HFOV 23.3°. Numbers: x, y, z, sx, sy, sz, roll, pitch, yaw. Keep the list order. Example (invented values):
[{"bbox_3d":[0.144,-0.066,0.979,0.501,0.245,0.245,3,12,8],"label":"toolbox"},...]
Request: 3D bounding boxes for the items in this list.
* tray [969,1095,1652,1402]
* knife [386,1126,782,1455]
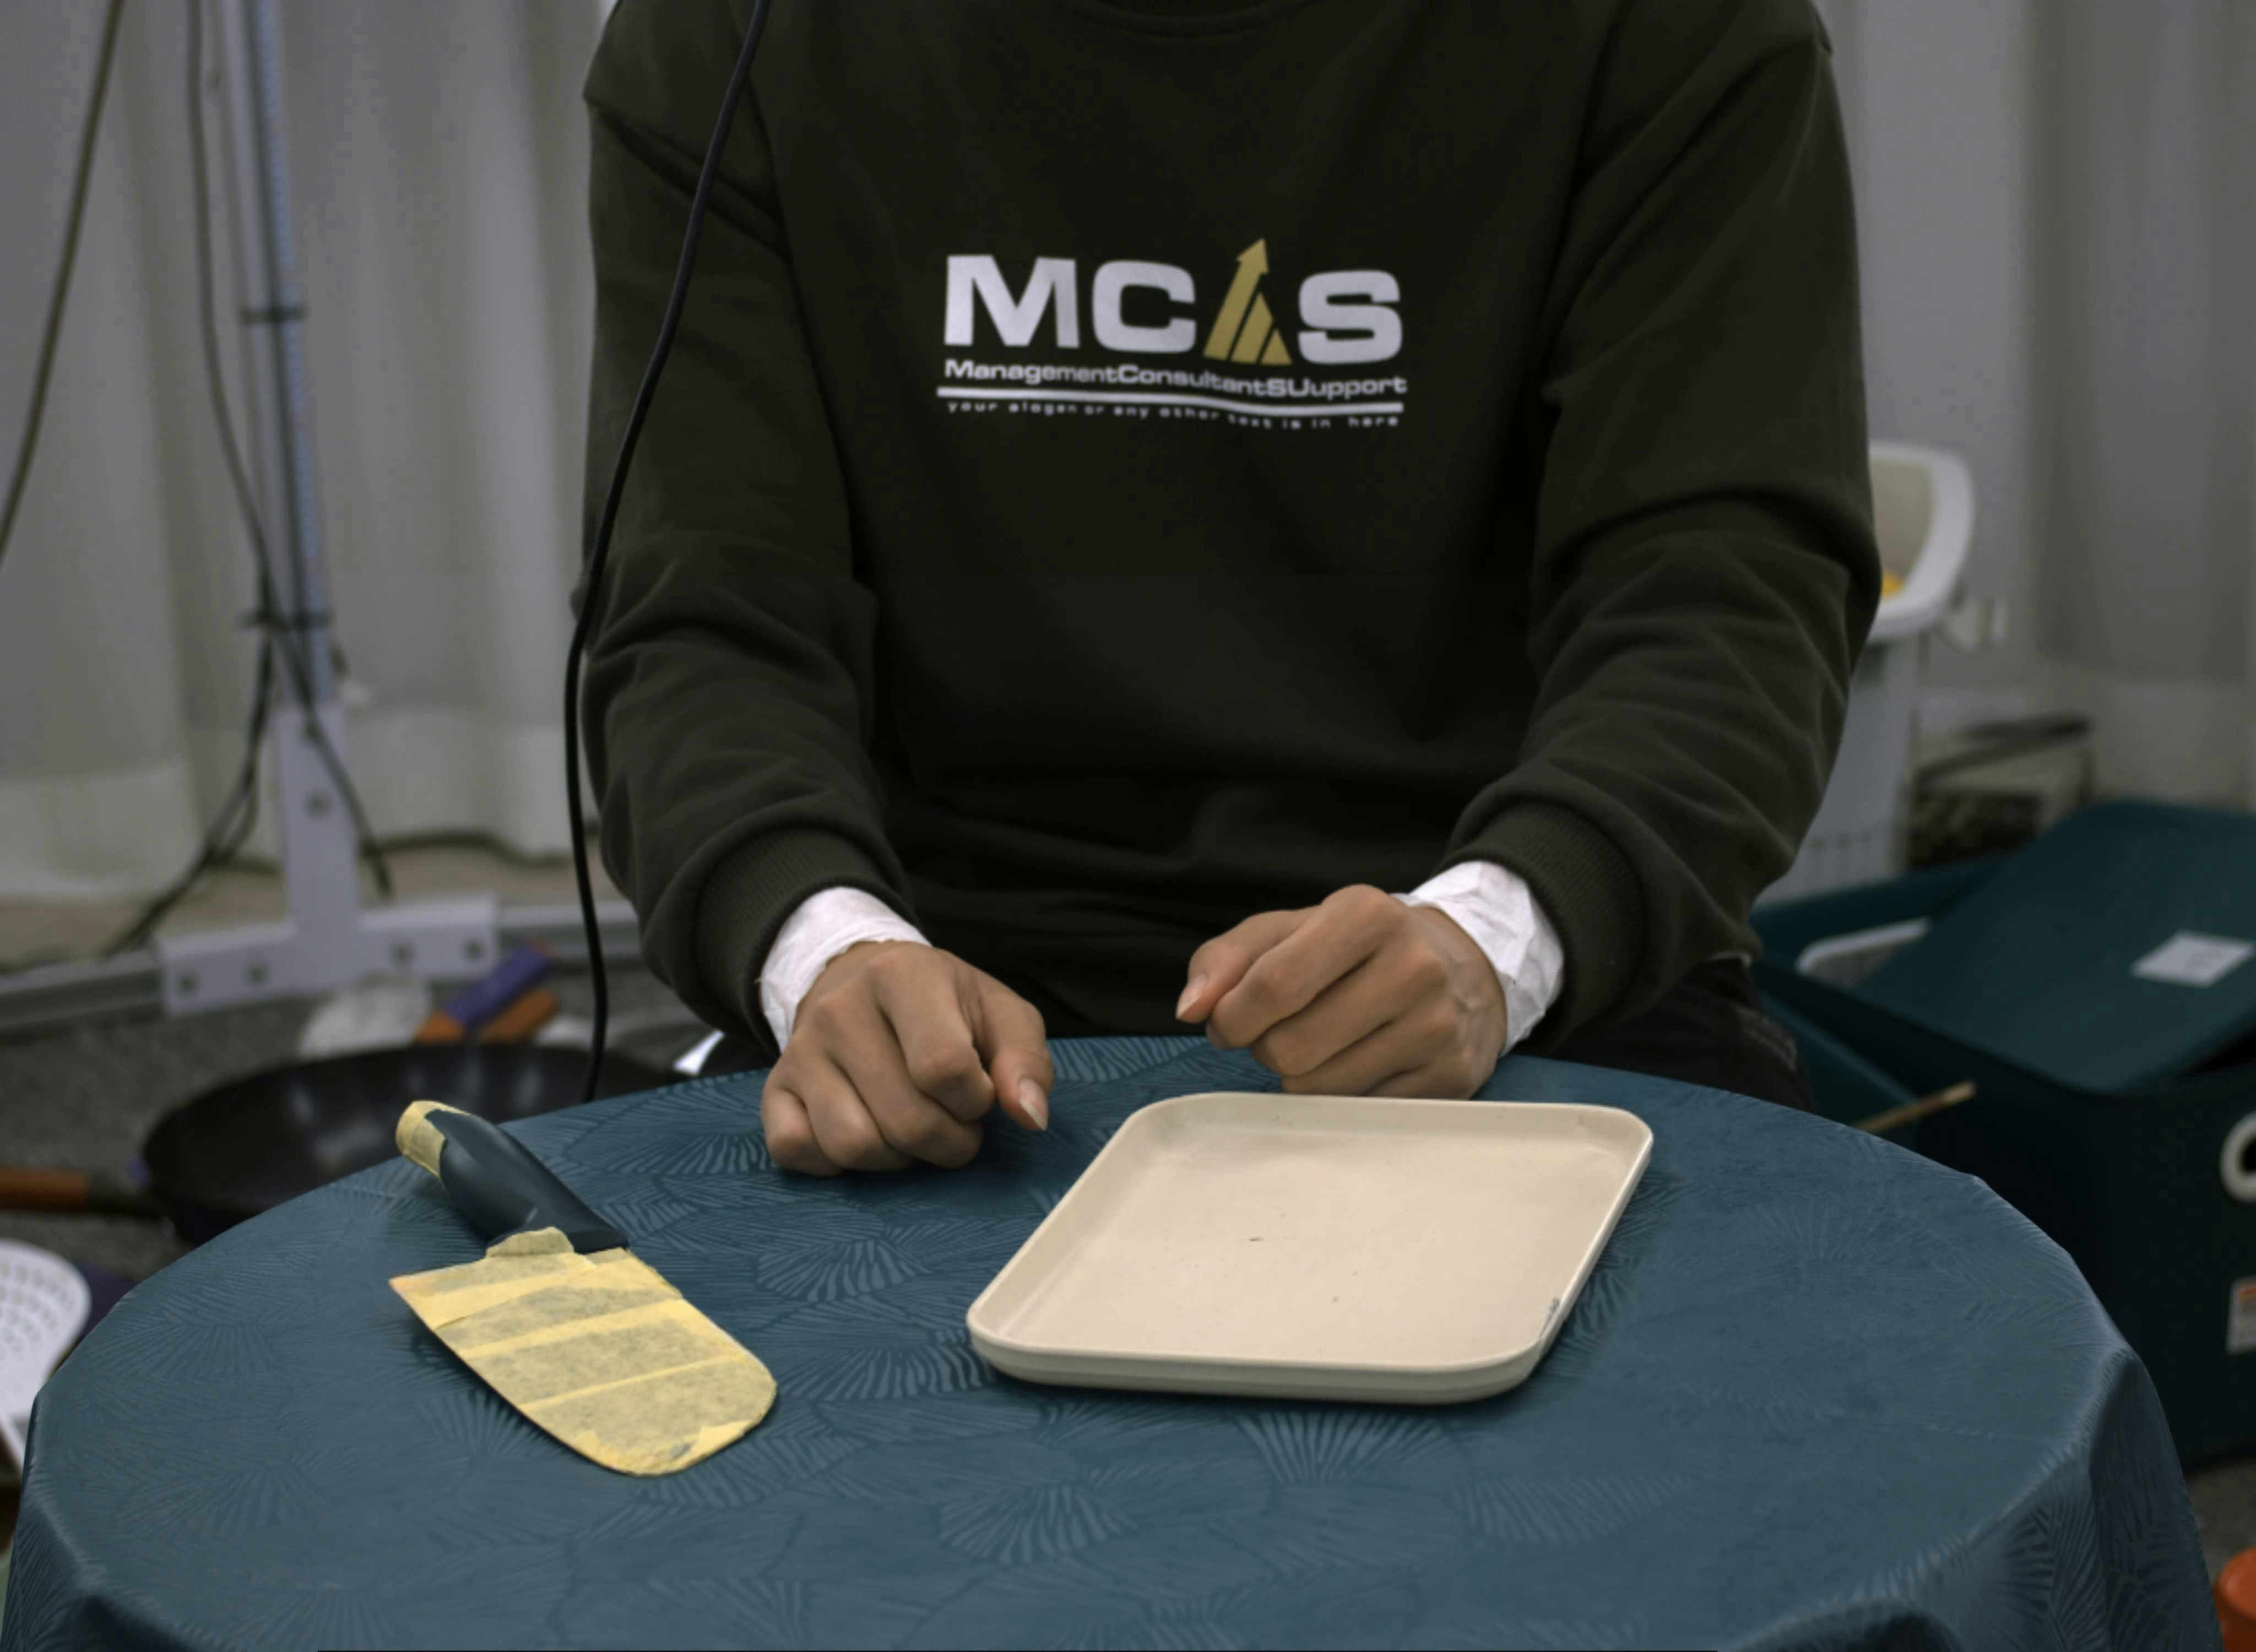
[{"bbox_3d":[0.059,0.125,1.633,0.171,0.017,0.240,1,15,15],"label":"tray"},{"bbox_3d":[-0.178,0.139,1.631,0.080,0.027,0.292,-7,16,-23],"label":"knife"}]
